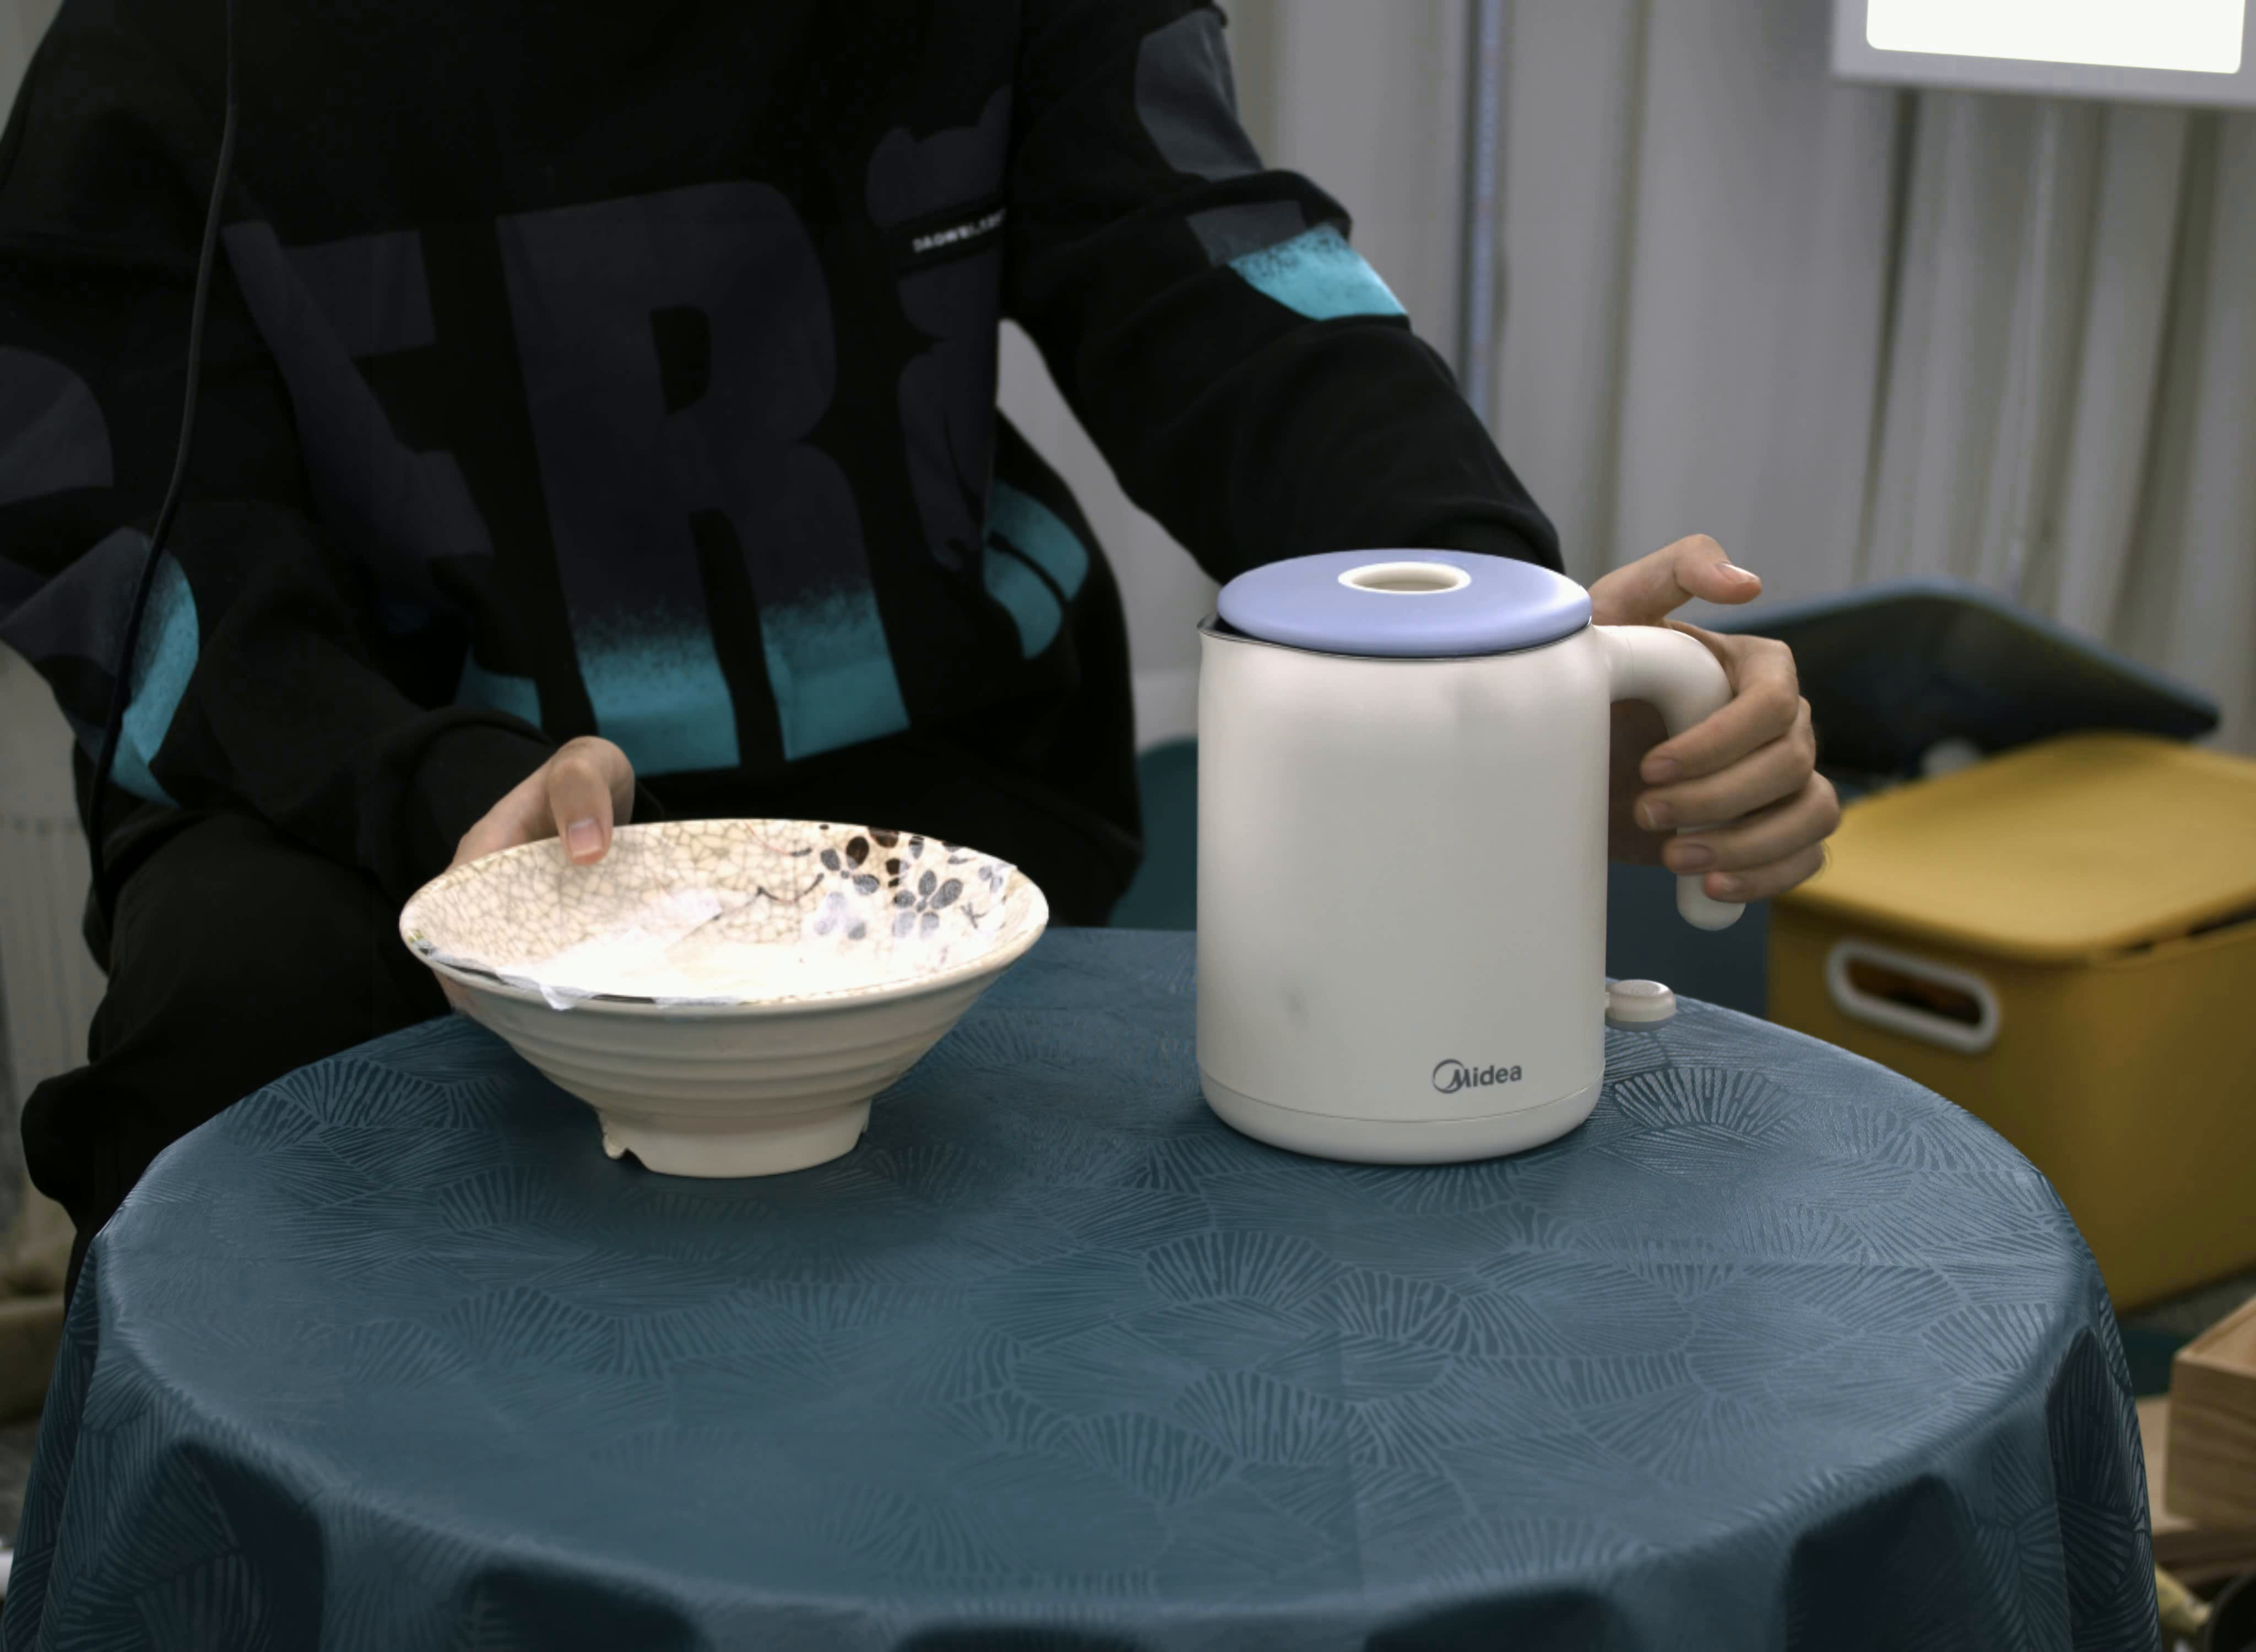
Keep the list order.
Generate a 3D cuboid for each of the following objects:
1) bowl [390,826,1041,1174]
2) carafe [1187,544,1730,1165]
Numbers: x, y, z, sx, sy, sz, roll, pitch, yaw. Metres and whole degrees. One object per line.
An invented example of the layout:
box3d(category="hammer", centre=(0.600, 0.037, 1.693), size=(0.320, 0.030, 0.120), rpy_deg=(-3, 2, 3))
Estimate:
box3d(category="bowl", centre=(-0.128, 0.060, 1.653), size=(0.203, 0.078, 0.203), rpy_deg=(0, 13, 0))
box3d(category="carafe", centre=(0.109, 0.007, 1.685), size=(0.192, 0.184, 0.130), rpy_deg=(-3, 18, -21))
